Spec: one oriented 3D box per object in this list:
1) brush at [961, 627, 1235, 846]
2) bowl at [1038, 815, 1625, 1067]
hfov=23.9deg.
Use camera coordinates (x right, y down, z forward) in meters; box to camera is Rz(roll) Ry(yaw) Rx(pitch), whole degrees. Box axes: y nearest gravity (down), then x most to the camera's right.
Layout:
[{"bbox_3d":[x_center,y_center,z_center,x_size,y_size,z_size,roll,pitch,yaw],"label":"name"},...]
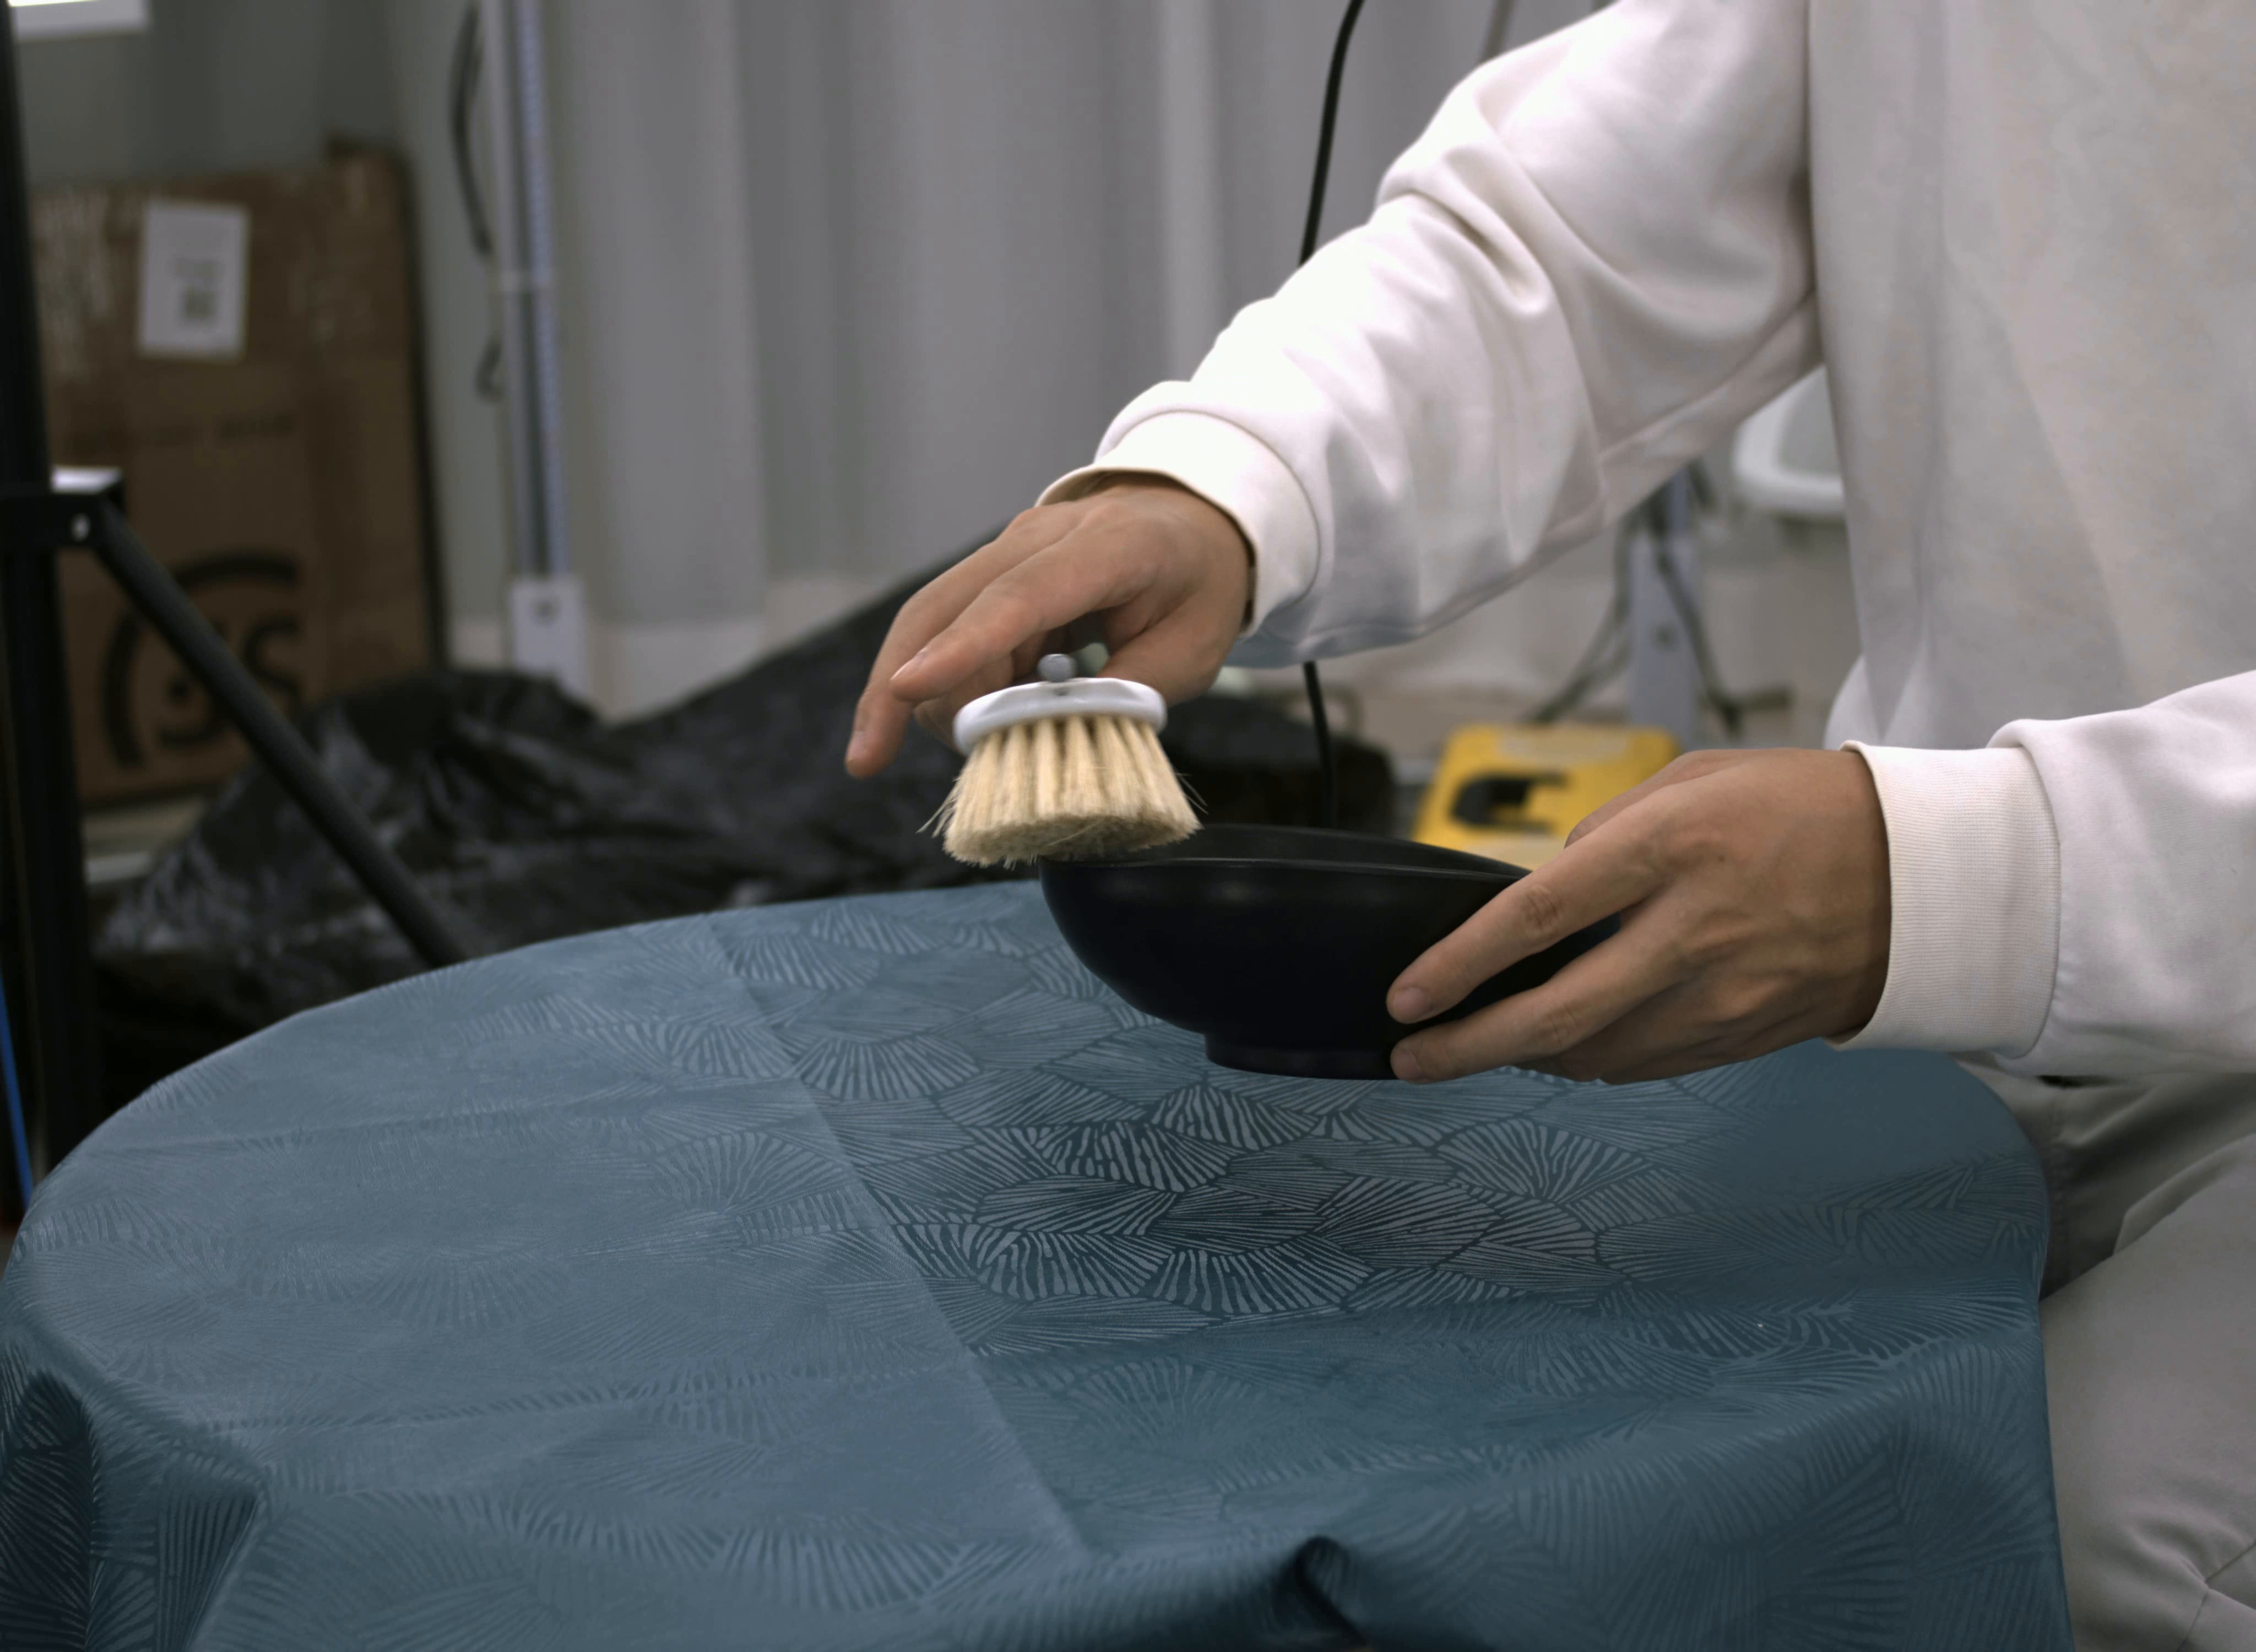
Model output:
[{"bbox_3d":[-0.019,-0.028,1.592,0.068,0.056,0.268,-6,5,-7],"label":"brush"},{"bbox_3d":[0.056,0.034,1.513,0.168,0.067,0.138,6,-1,-10],"label":"bowl"}]
